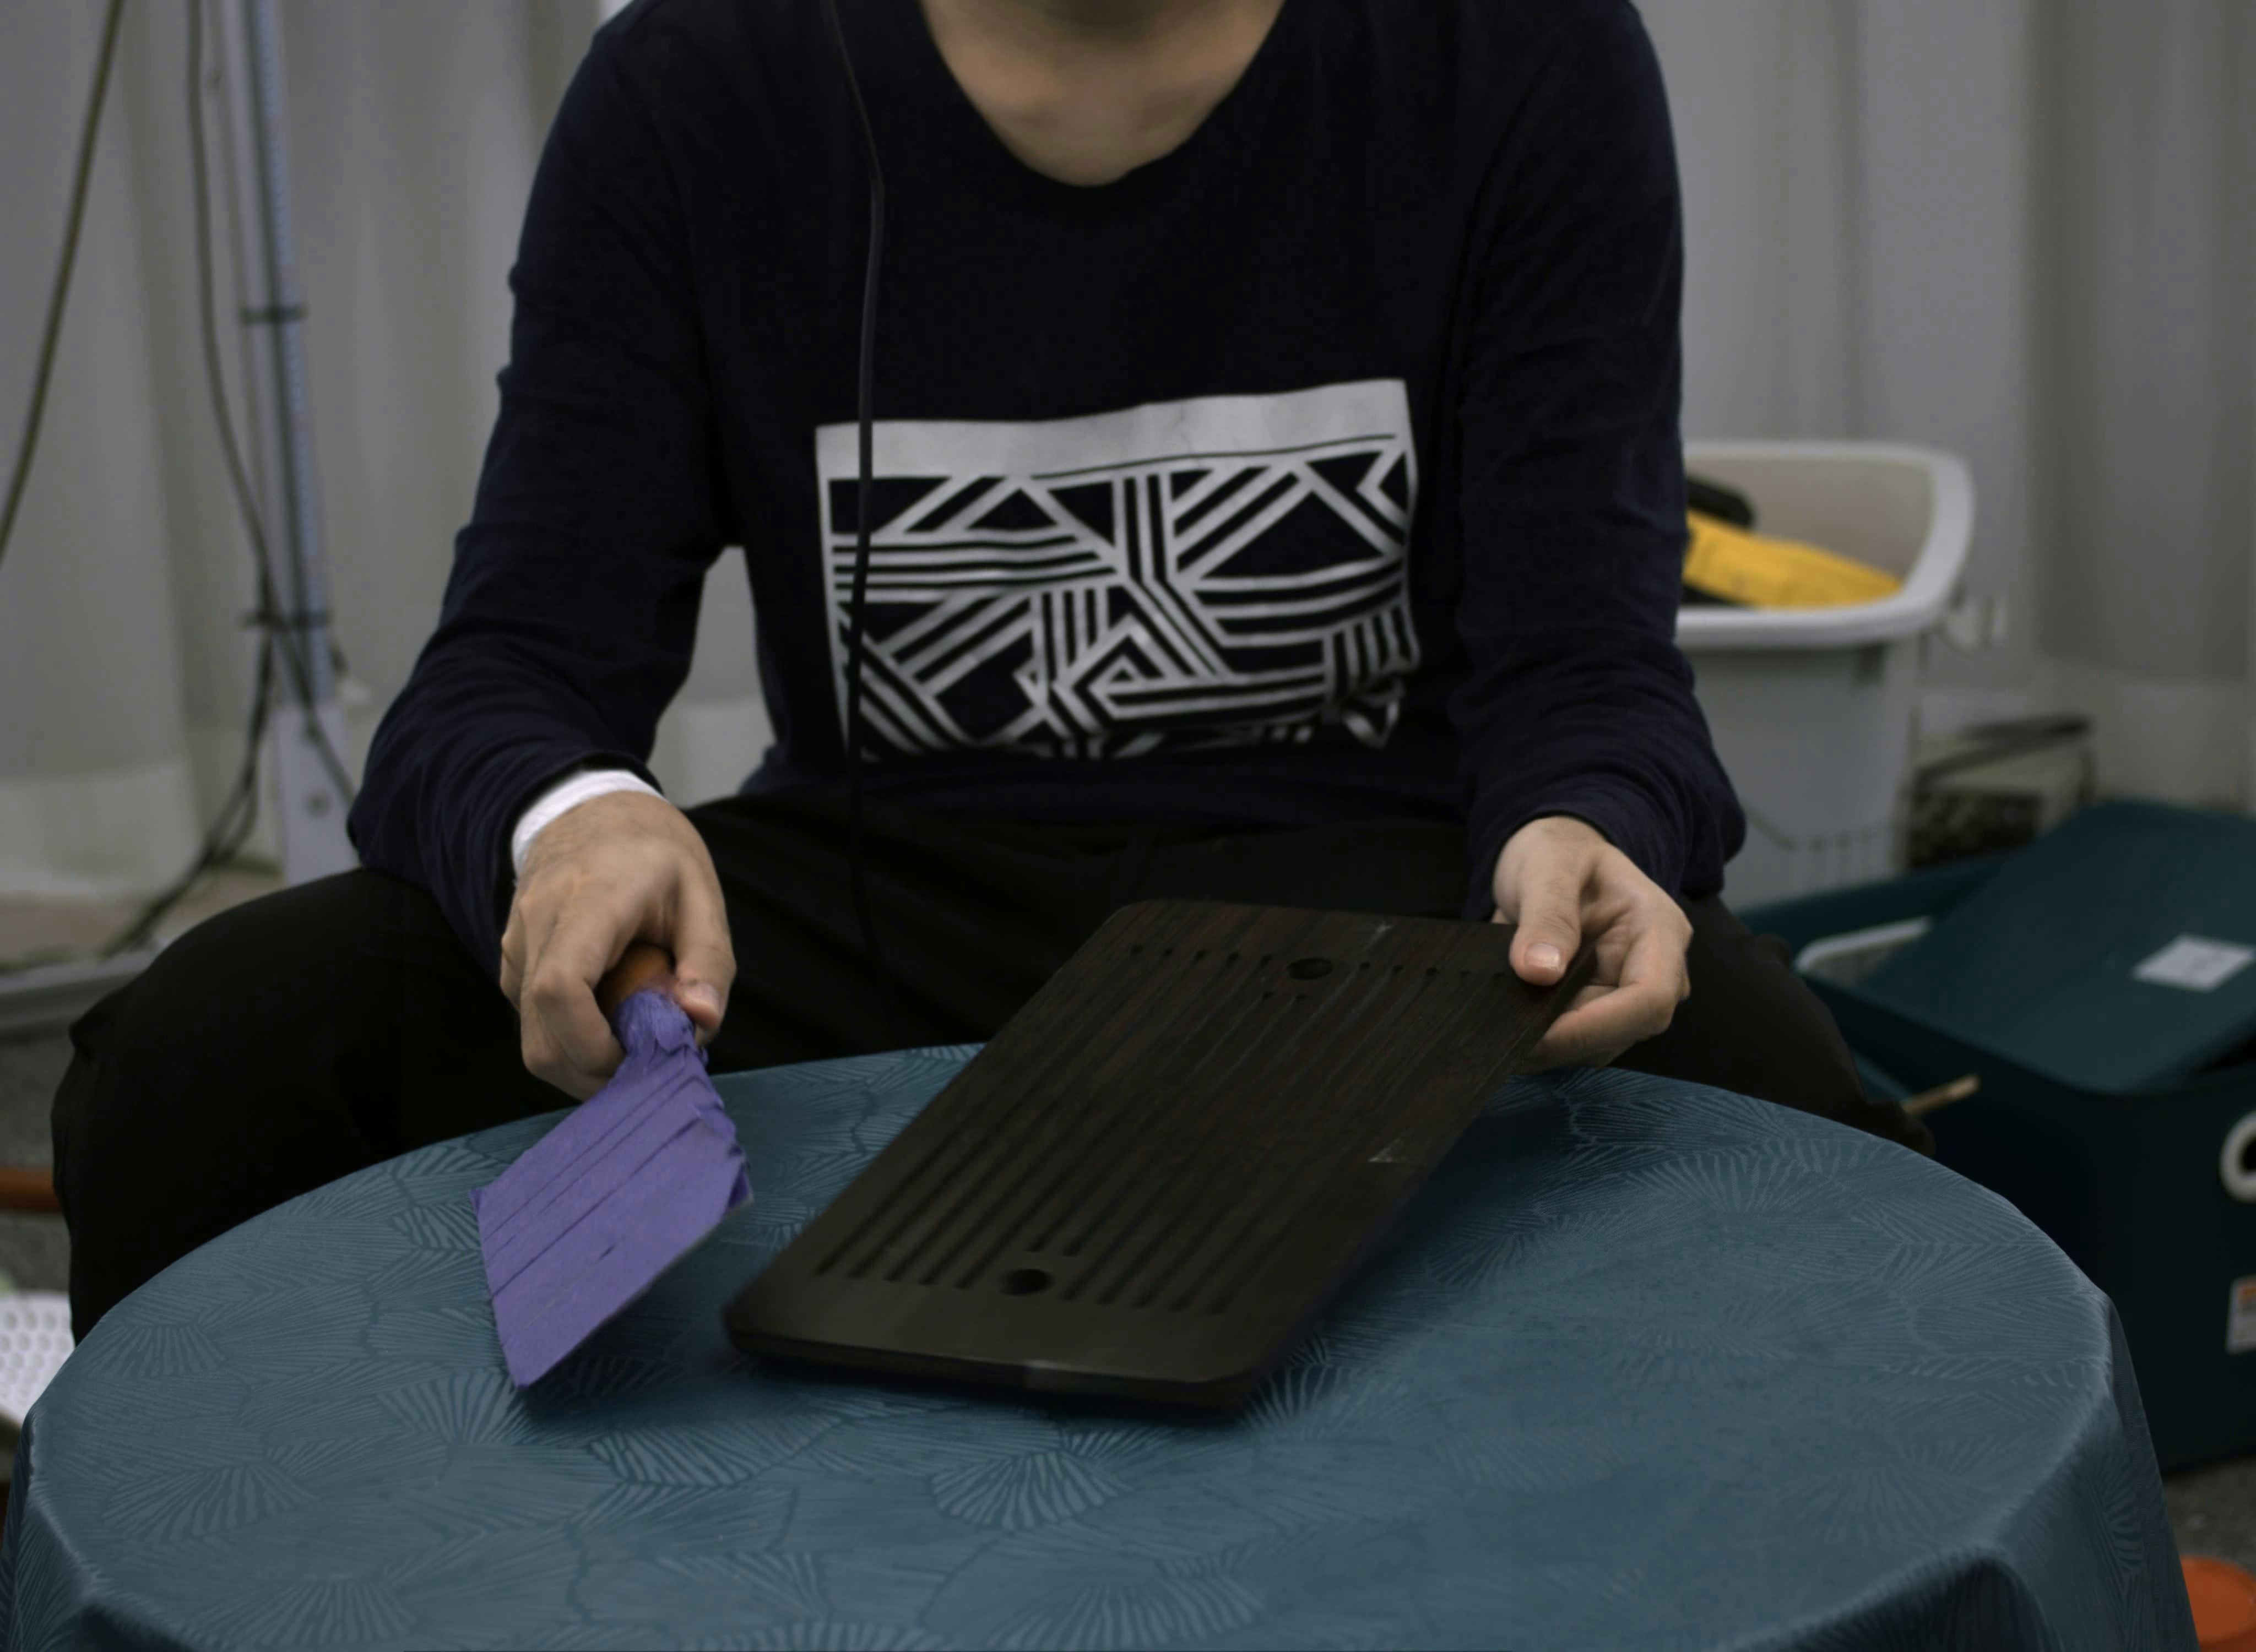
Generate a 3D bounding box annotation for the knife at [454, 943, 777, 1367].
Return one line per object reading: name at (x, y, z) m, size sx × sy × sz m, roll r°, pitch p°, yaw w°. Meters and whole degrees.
knife at (-0.166, 0.097, 1.687) m, size 0.104 × 0.032 × 0.317 m, roll -38°, pitch 13°, yaw -1°

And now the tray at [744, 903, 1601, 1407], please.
tray at (0.021, 0.096, 1.663) m, size 0.170 × 0.018 × 0.308 m, roll 3°, pitch 24°, yaw 24°
